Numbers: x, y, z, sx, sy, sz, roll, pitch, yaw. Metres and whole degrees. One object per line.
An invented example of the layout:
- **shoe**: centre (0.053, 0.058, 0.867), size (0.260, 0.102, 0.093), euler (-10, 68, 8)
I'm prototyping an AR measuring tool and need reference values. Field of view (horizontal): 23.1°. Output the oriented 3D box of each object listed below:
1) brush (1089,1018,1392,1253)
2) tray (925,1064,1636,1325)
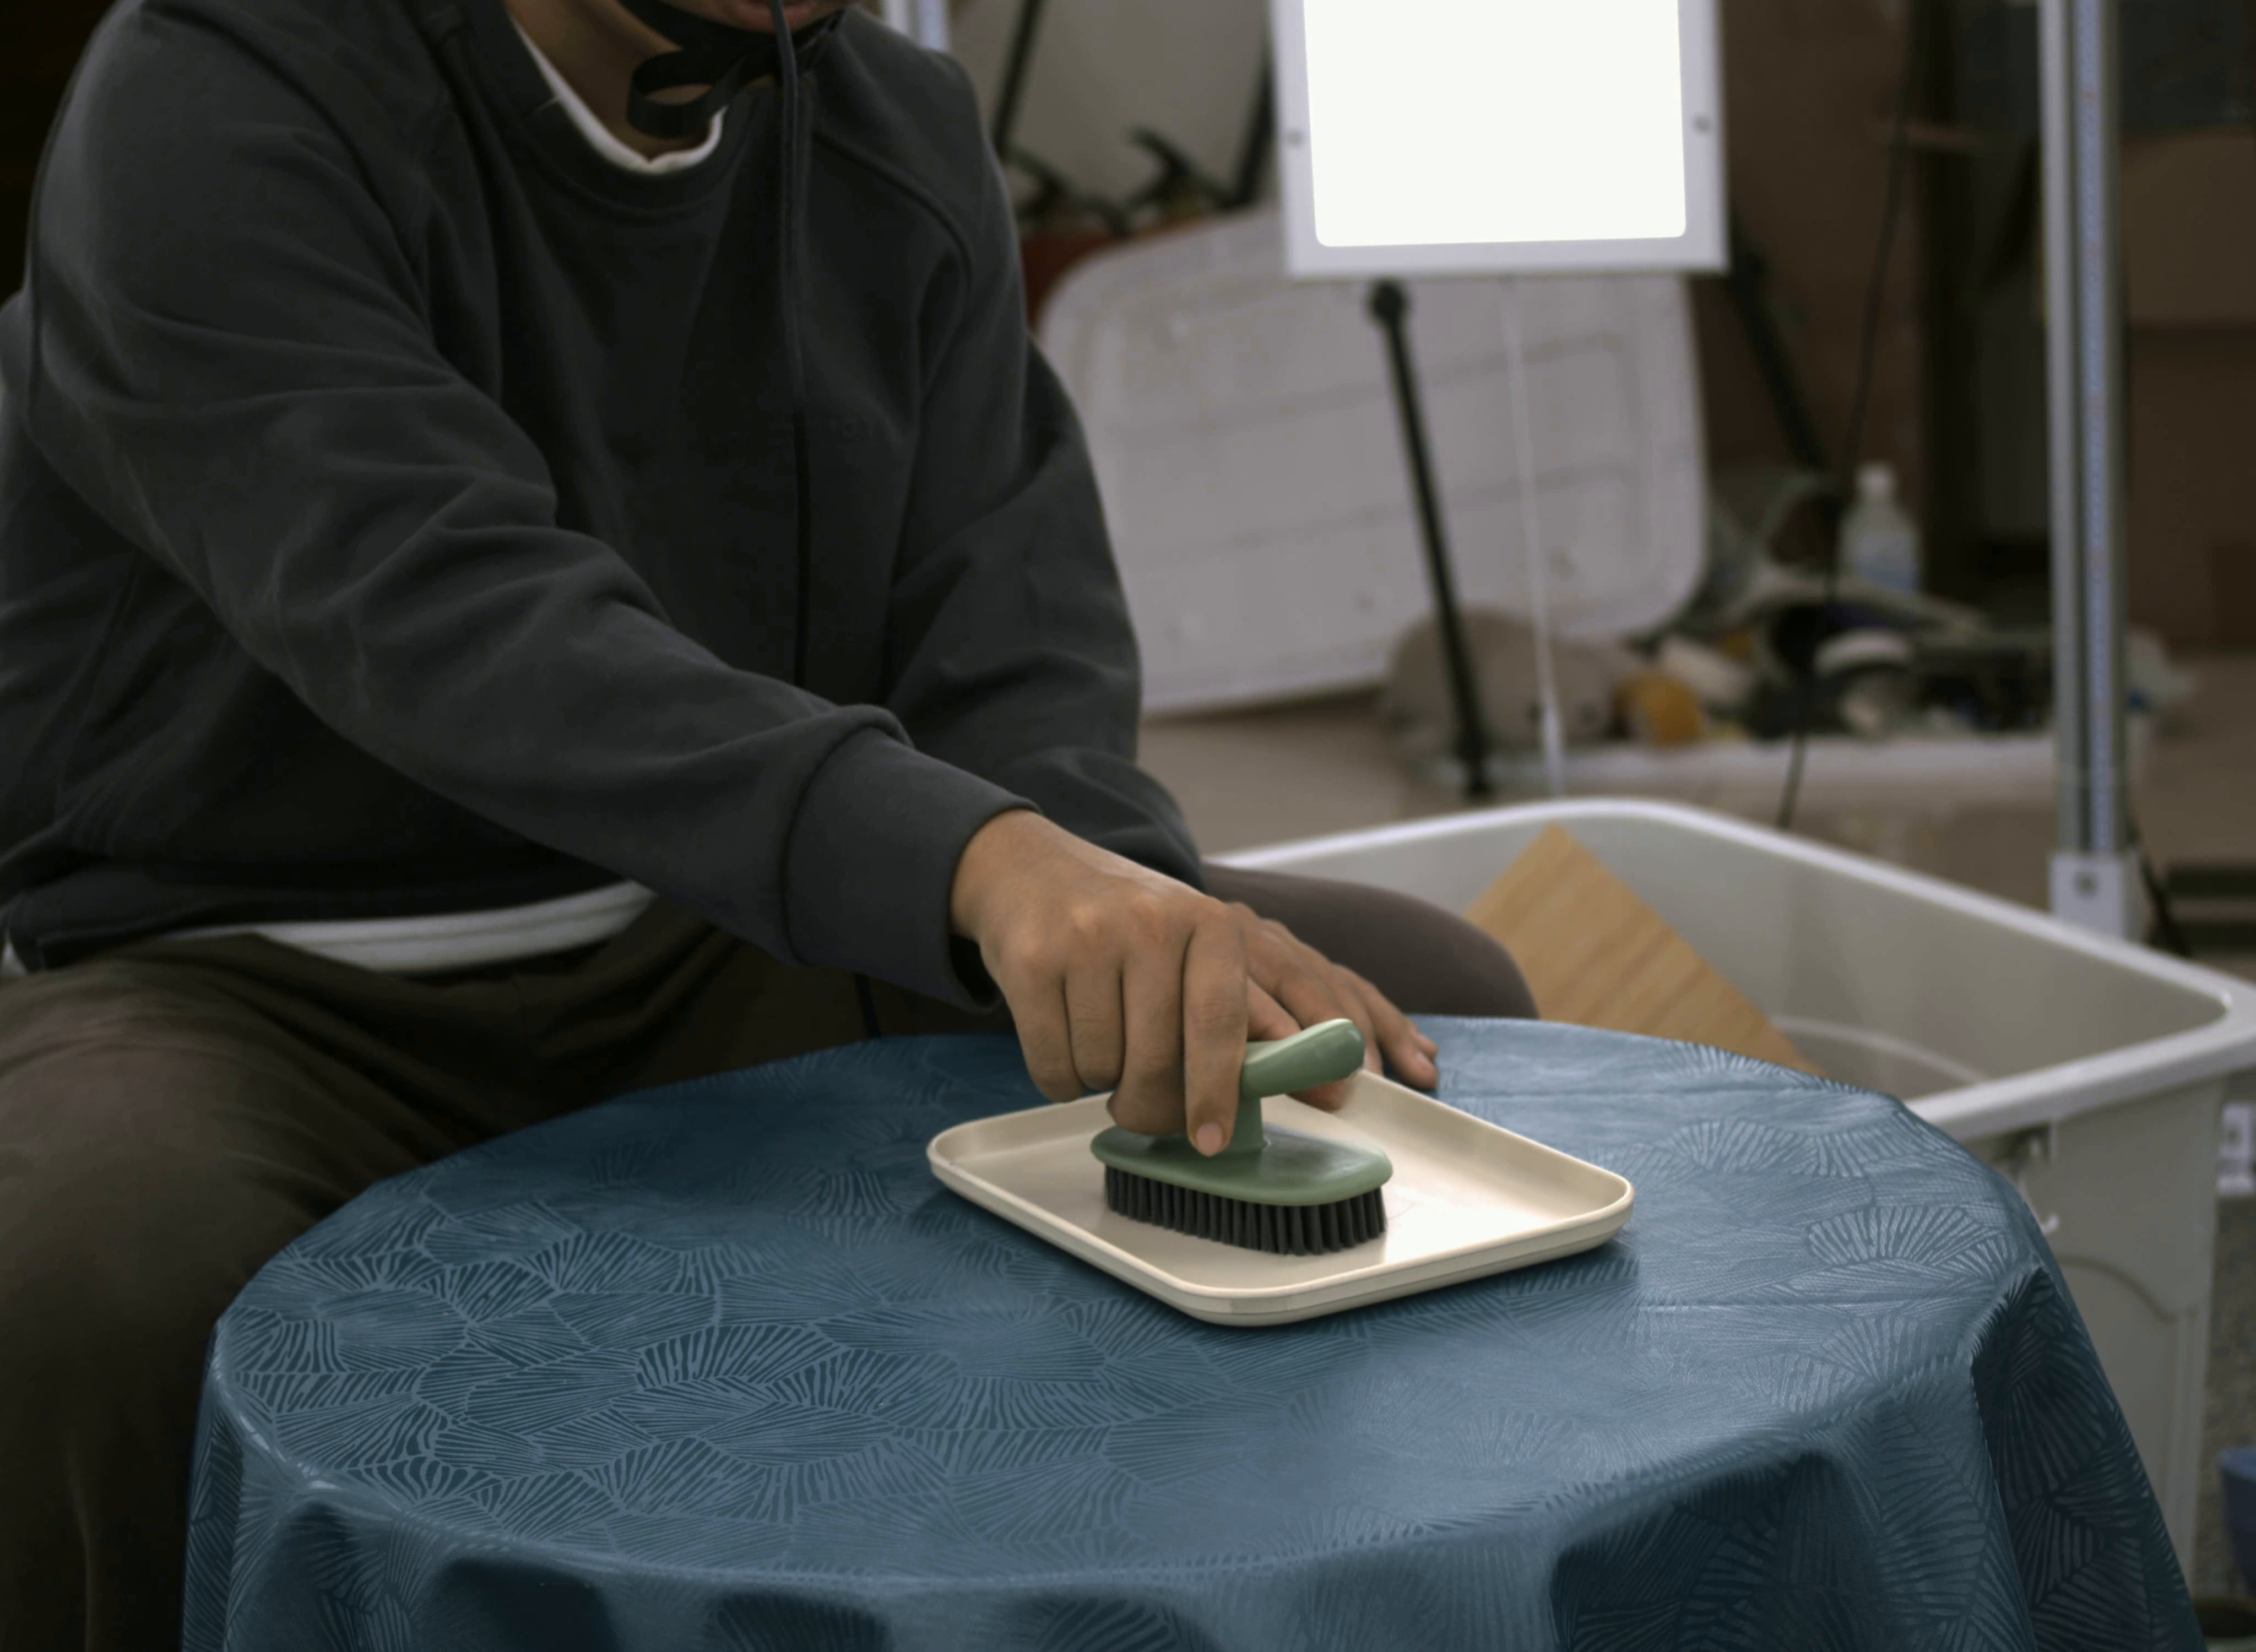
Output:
- **brush**: centre (0.038, 0.106, 1.844), size (0.058, 0.076, 0.126), euler (-15, 3, -39)
- **tray**: centre (0.049, 0.122, 1.860), size (0.168, 0.017, 0.243), euler (-11, 14, -25)
